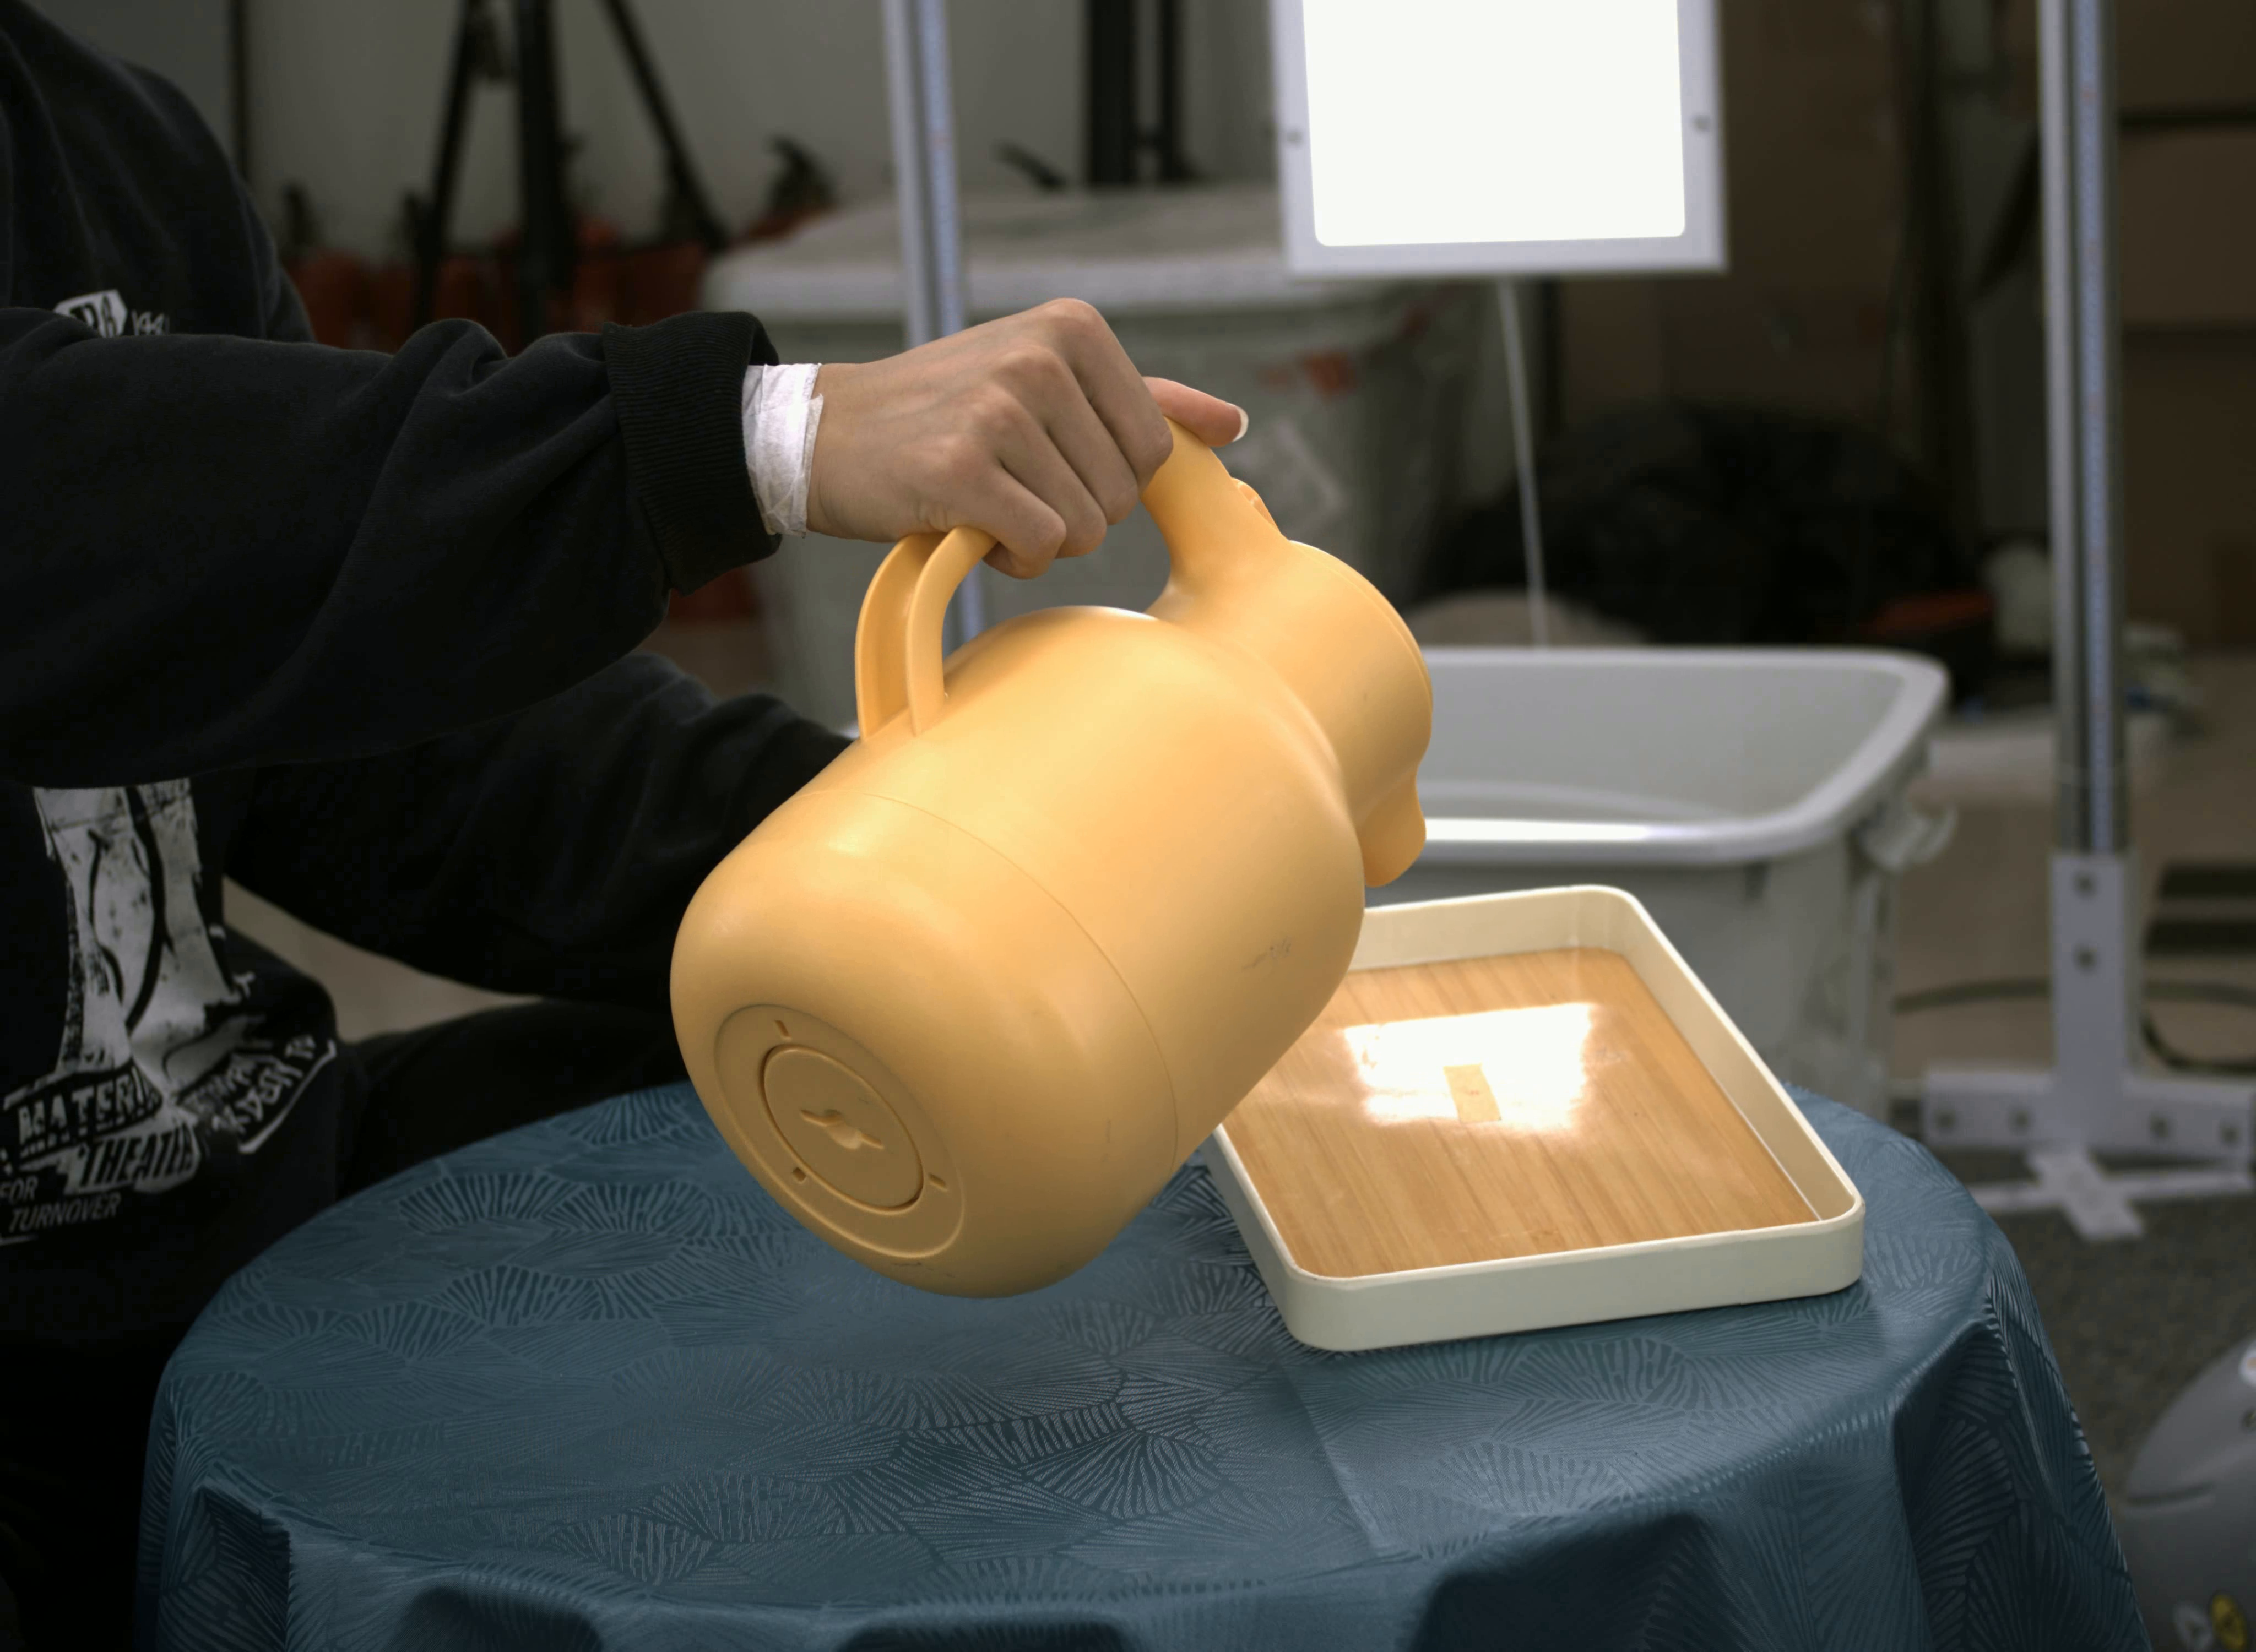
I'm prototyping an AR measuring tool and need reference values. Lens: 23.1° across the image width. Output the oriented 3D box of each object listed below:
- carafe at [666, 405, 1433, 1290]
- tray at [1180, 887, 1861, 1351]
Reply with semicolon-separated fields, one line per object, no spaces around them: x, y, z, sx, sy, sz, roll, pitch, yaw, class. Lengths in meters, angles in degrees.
-0.021;-0.003;1.681;0.167;0.202;0.255;-10;26;50;carafe
0.116;0.093;1.854;0.190;0.027;0.301;-6;21;-8;tray
